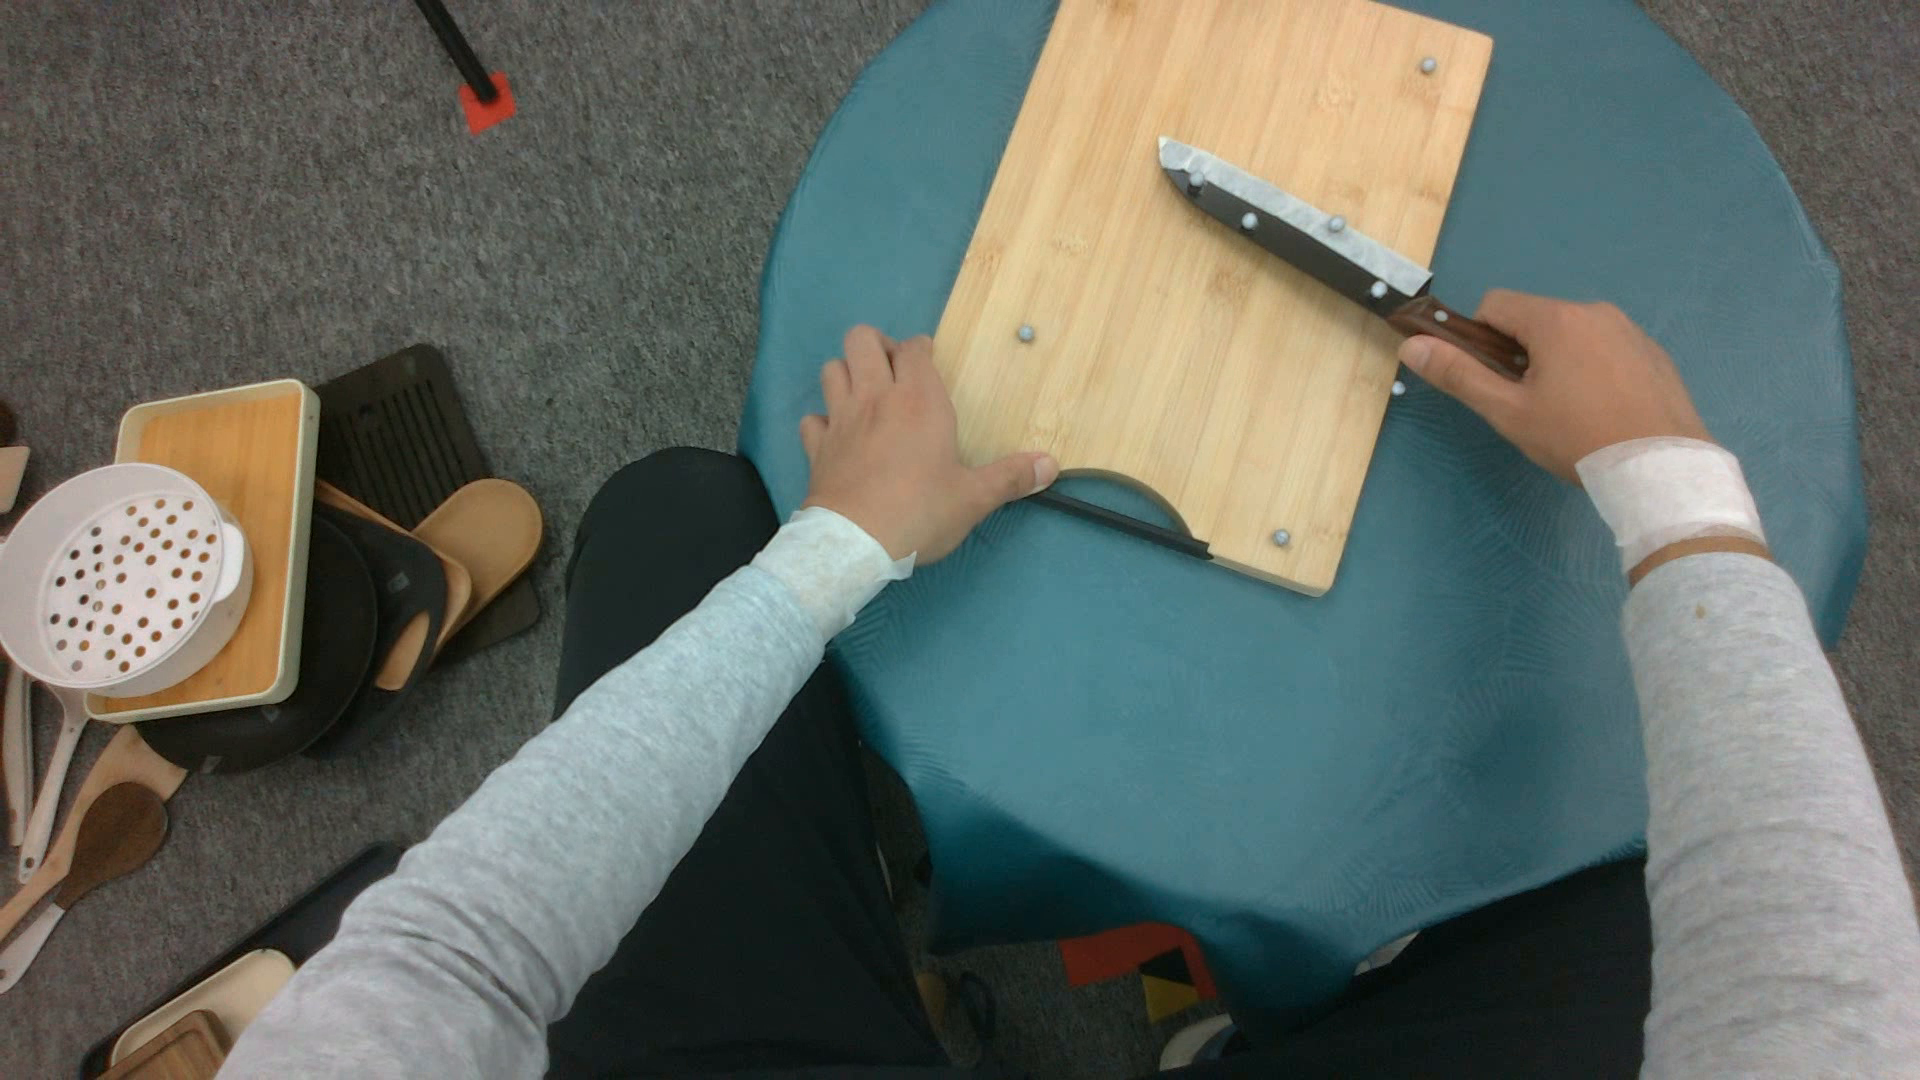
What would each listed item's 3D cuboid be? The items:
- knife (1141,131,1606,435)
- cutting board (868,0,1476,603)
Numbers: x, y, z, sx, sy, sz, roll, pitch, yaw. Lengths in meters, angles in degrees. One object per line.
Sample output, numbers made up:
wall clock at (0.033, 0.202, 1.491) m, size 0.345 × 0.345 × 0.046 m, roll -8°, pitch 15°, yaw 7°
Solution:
knife at (0.211, -0.142, 0.727) m, size 0.289 × 0.020 × 0.050 m, roll 37°, pitch 61°, yaw 16°
cutting board at (0.124, -0.163, 0.764) m, size 0.250 × 0.023 × 0.349 m, roll 18°, pitch 76°, yaw 5°
